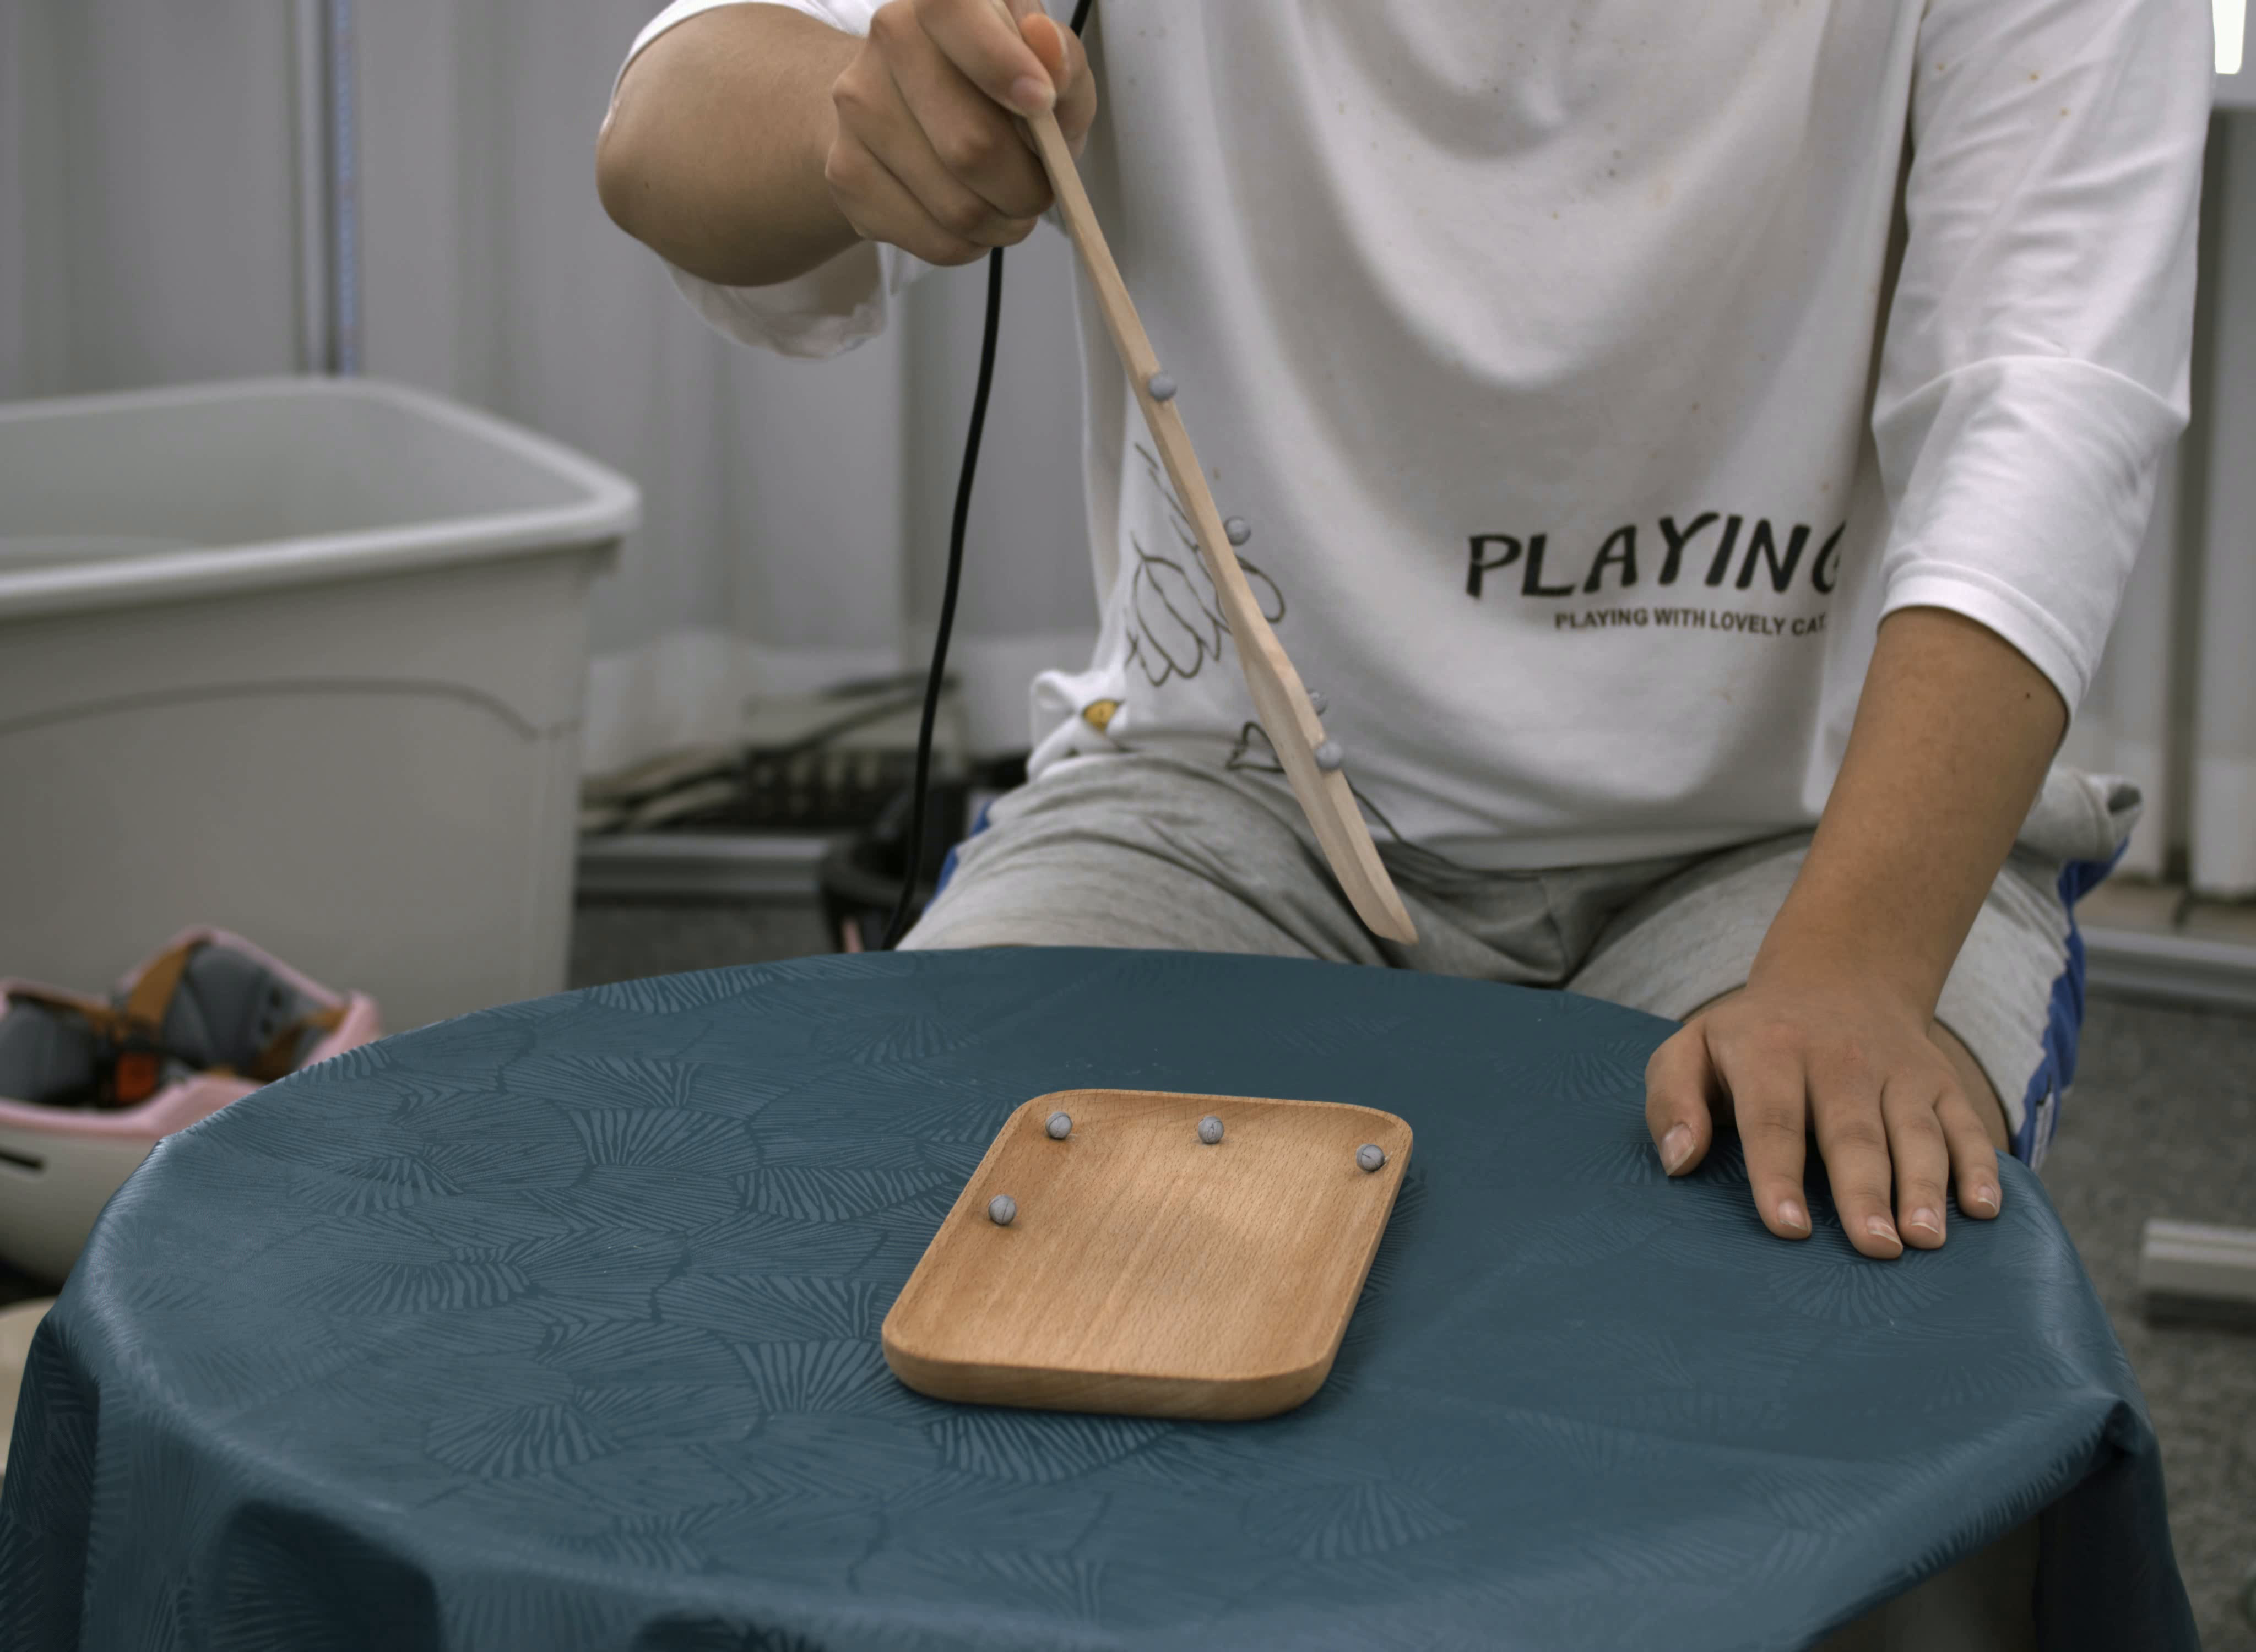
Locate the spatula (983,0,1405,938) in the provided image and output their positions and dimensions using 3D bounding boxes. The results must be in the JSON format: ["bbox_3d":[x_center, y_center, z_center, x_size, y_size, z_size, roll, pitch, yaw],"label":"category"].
[{"bbox_3d":[0.016,-0.103,1.491,0.010,0.294,0.072,-23,7,-4],"label":"spatula"}]

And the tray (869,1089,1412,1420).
[{"bbox_3d":[0.008,0.124,1.558,0.129,0.023,0.250,1,15,11],"label":"tray"}]
